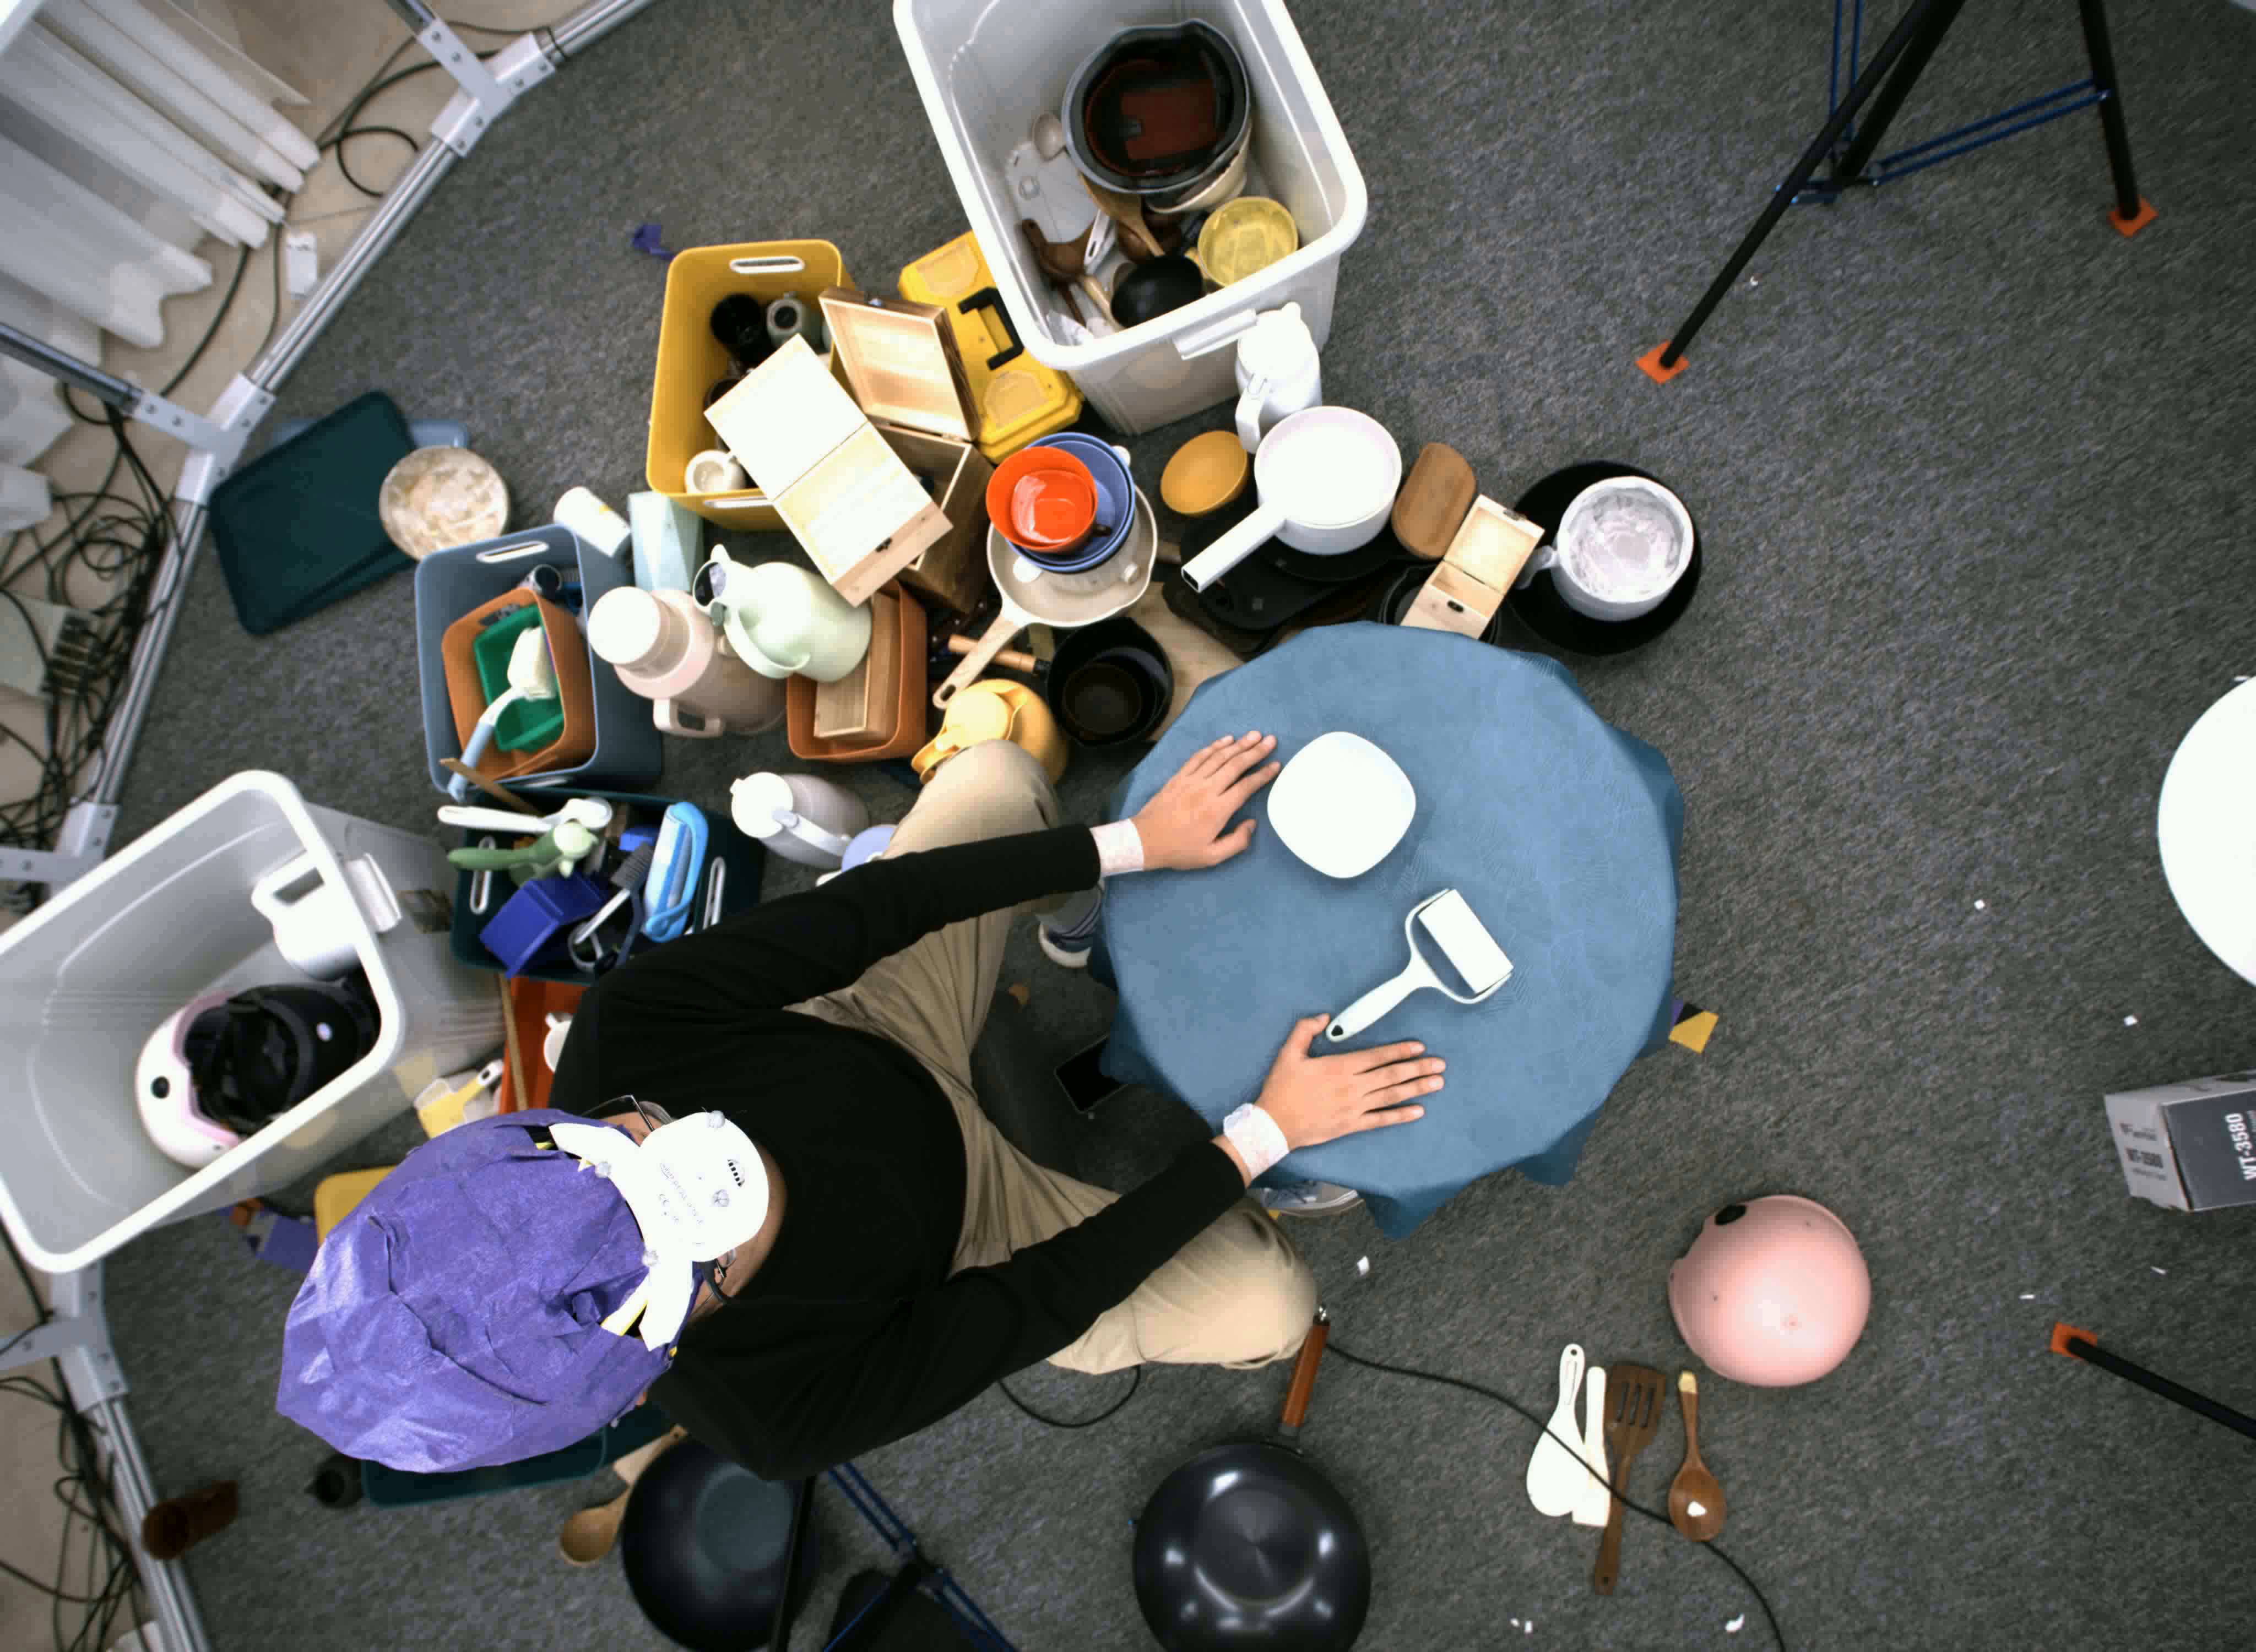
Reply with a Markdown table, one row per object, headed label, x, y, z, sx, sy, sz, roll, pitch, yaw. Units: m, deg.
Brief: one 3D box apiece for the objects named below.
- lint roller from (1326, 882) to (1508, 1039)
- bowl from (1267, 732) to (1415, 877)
| label | x | y | z | sx | sy | sz | roll | pitch | yaw |
| --- | --- | --- | --- | --- | --- | --- | --- | --- | --- |
| lint roller | 0.283 | 0.154 | 1.430 | 0.199 | 0.048 | 0.116 | -37 | 82 | 8 |
| bowl | 0.222 | -0.020 | 1.446 | 0.152 | 0.059 | 0.151 | -1 | 86 | 9 |
